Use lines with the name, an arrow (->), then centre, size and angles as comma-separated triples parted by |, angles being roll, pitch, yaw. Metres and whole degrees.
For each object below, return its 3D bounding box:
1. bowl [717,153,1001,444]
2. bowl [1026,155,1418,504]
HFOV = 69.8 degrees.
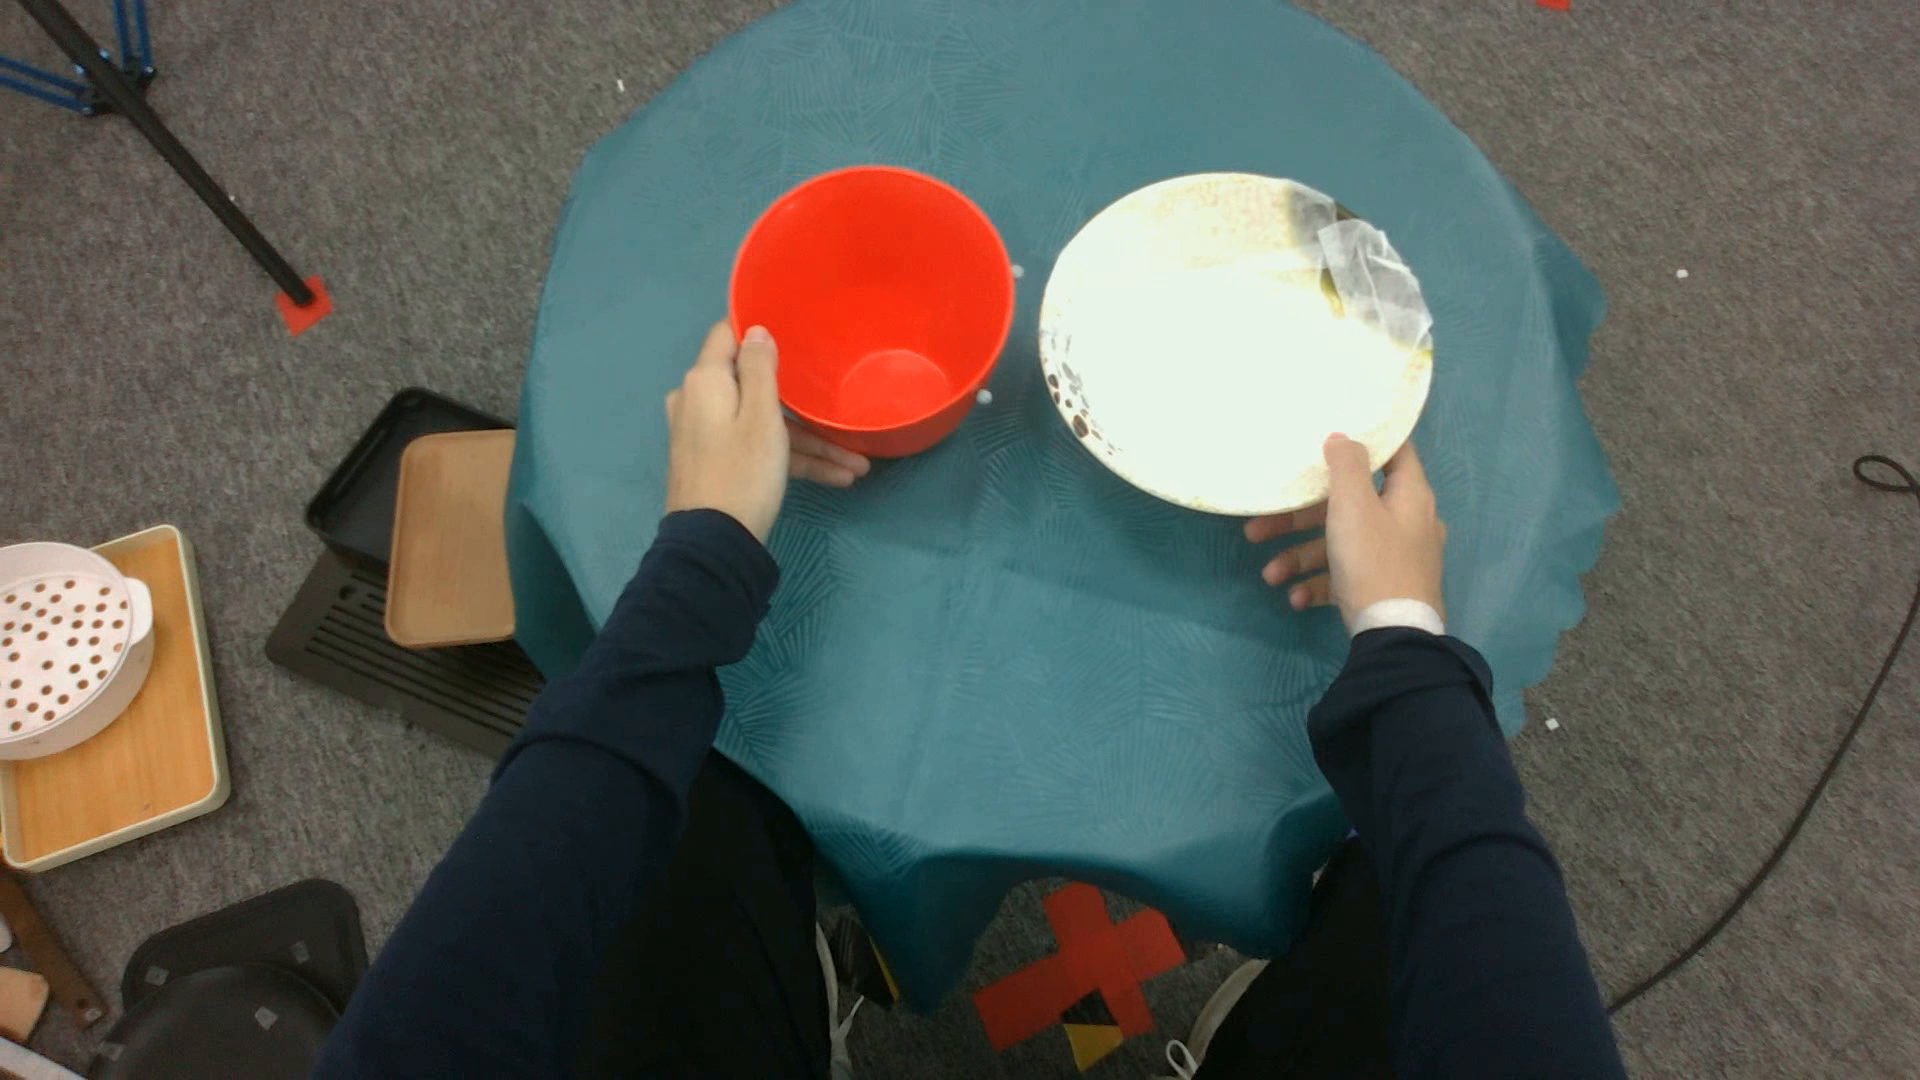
bowl -> -0.050, -0.117, 0.747 | 0.148, 0.104, 0.148 | -1, 66, 3
bowl -> 0.138, -0.104, 0.757 | 0.204, 0.078, 0.204 | -1, 72, 3
